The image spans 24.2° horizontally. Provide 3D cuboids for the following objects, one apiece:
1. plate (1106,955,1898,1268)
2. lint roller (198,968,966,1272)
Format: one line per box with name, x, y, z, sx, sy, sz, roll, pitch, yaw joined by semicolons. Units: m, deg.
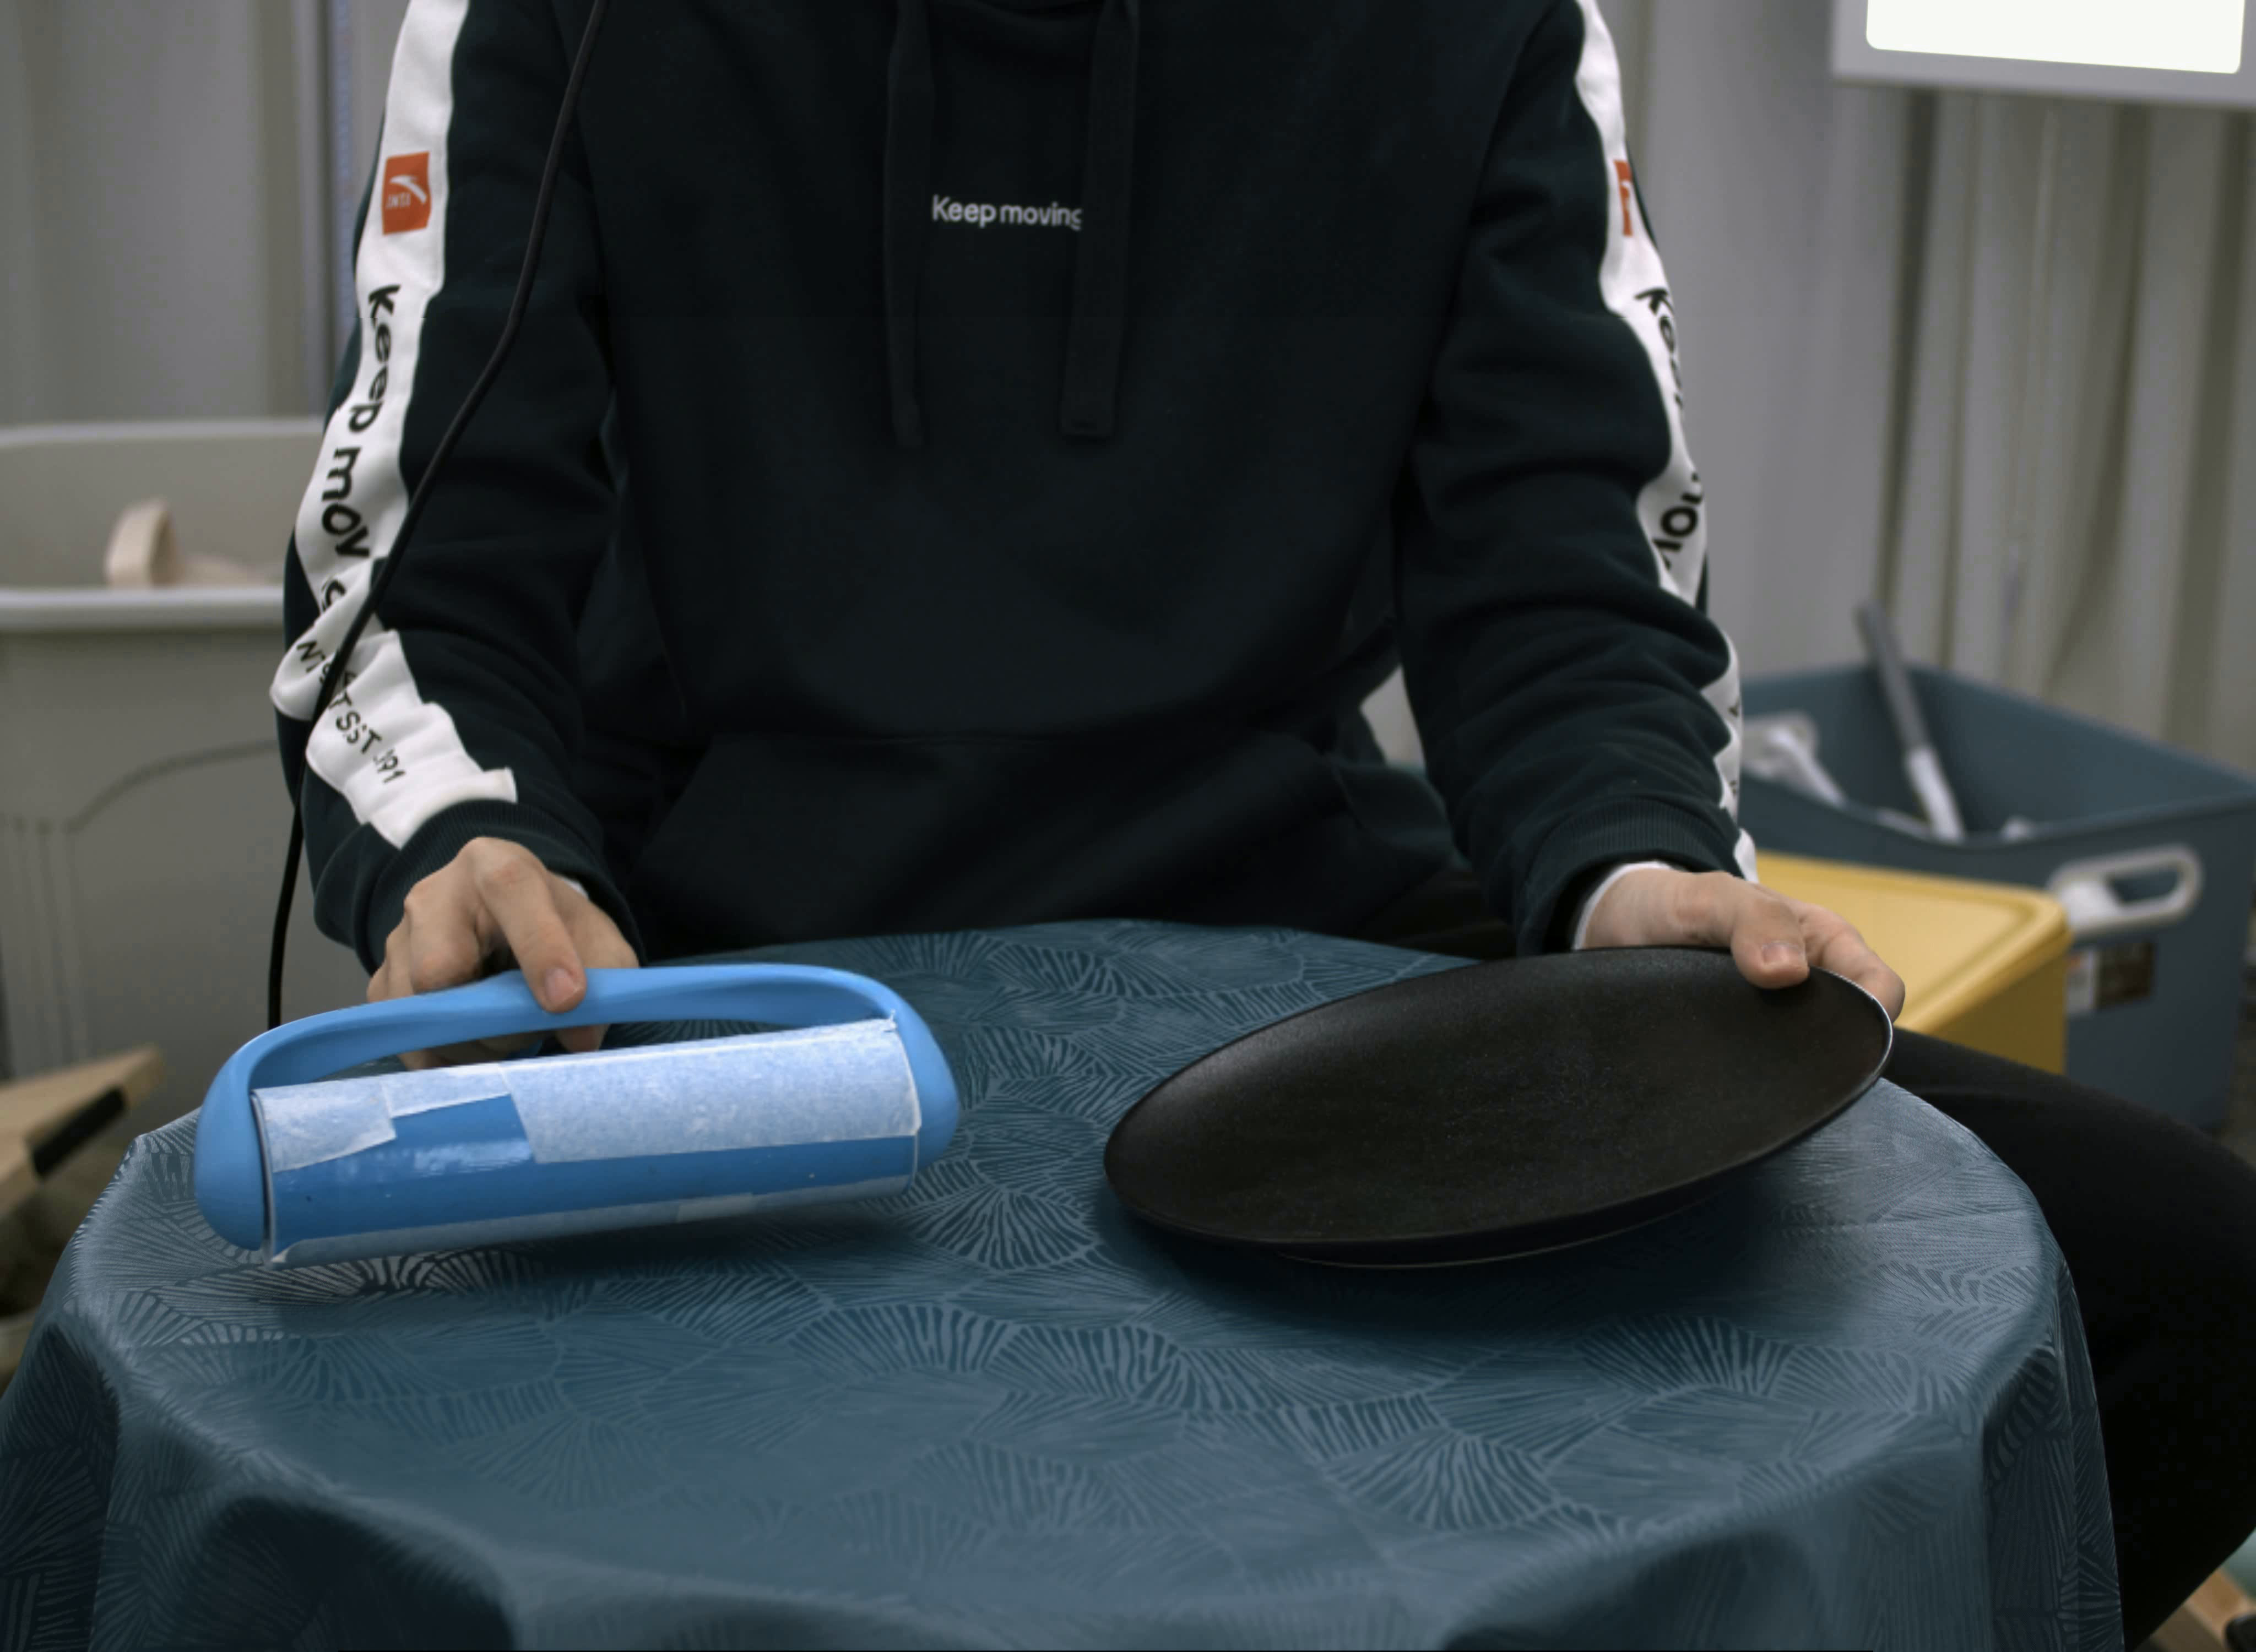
plate;0.114;0.089;1.600;0.243;0.023;0.243;-10;15;3
lint roller;-0.179;0.076;1.599;0.229;0.068;0.178;-8;18;-19
